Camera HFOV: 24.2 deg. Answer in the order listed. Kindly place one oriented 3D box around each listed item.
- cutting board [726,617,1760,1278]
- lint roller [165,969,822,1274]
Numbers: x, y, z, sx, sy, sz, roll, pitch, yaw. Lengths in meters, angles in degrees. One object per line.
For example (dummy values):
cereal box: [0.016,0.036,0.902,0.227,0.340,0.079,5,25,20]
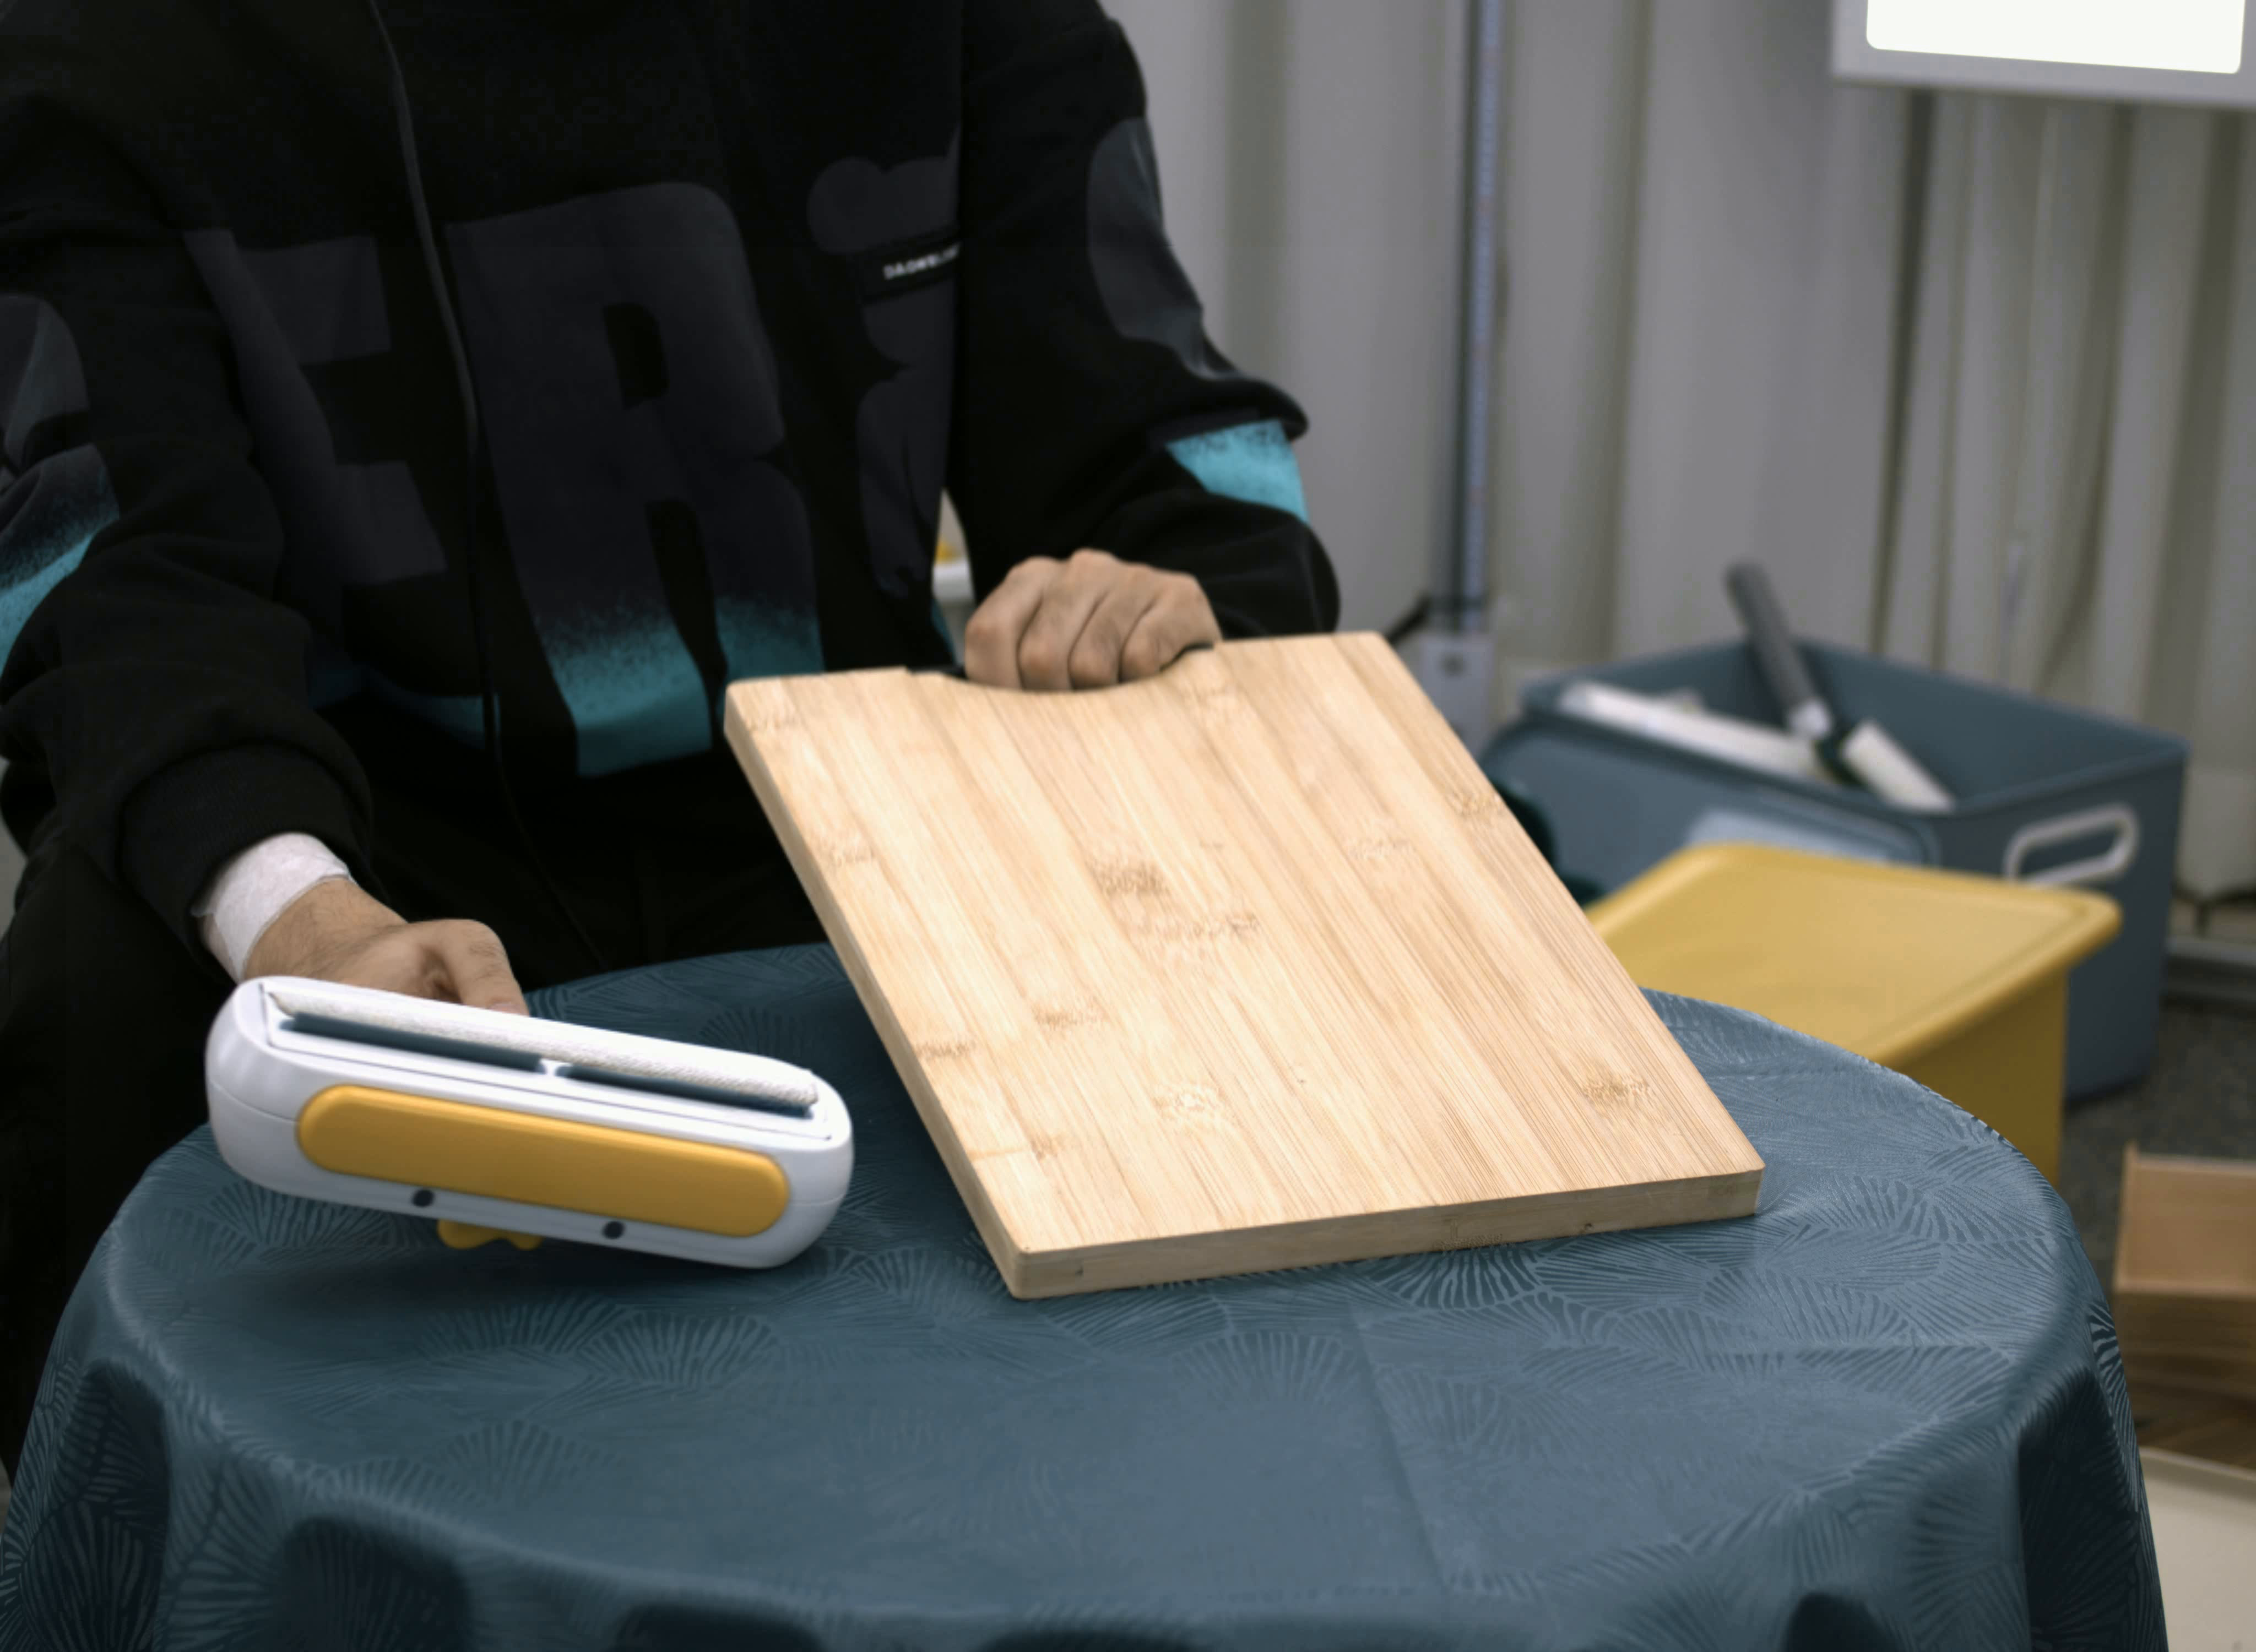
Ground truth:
cutting board: [0.027,0.031,1.700,0.251,0.024,0.344,-5,33,-19]
lint roller: [-0.195,0.078,1.591,0.193,0.074,0.191,8,14,-13]
